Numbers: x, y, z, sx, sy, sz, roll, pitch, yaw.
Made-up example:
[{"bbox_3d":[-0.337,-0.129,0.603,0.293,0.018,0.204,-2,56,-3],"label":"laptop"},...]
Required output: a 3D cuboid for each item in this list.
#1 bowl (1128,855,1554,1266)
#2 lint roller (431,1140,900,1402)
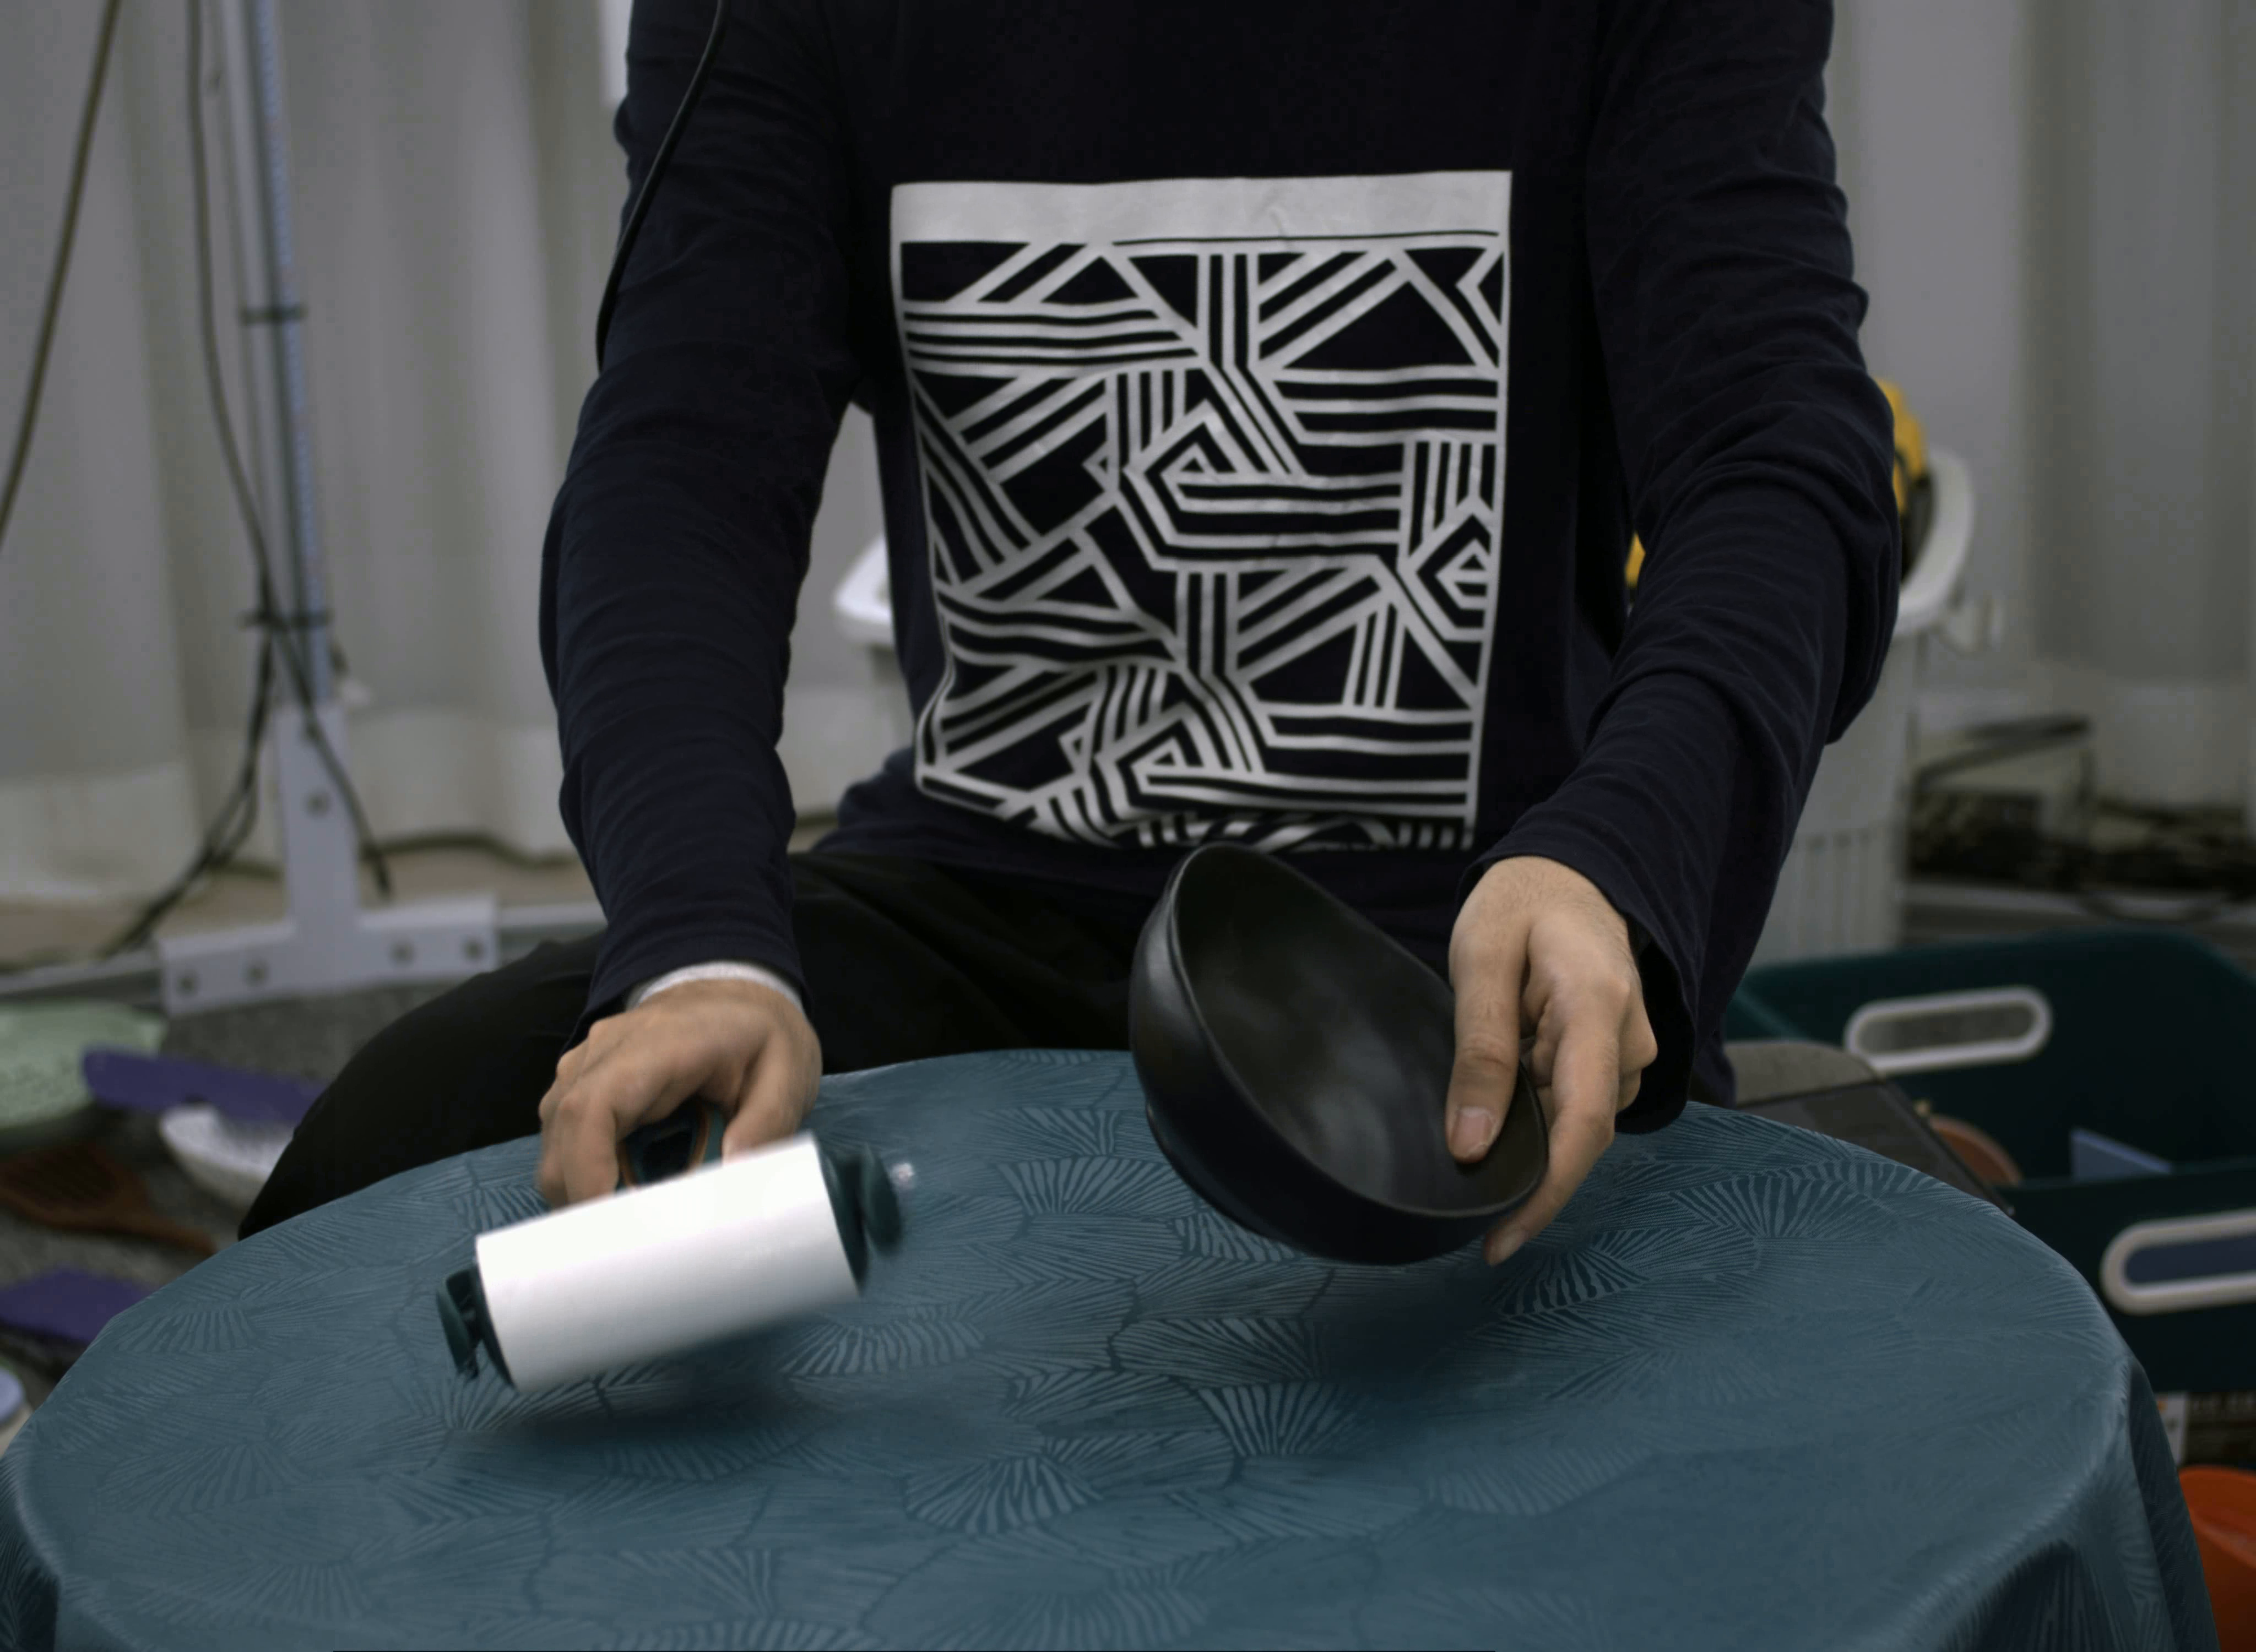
[{"bbox_3d":[0.049,0.076,1.574,0.137,0.066,0.172,36,23,-7],"label":"bowl"},{"bbox_3d":[-0.136,0.107,1.596,0.134,0.048,0.182,-14,19,-3],"label":"lint roller"}]
